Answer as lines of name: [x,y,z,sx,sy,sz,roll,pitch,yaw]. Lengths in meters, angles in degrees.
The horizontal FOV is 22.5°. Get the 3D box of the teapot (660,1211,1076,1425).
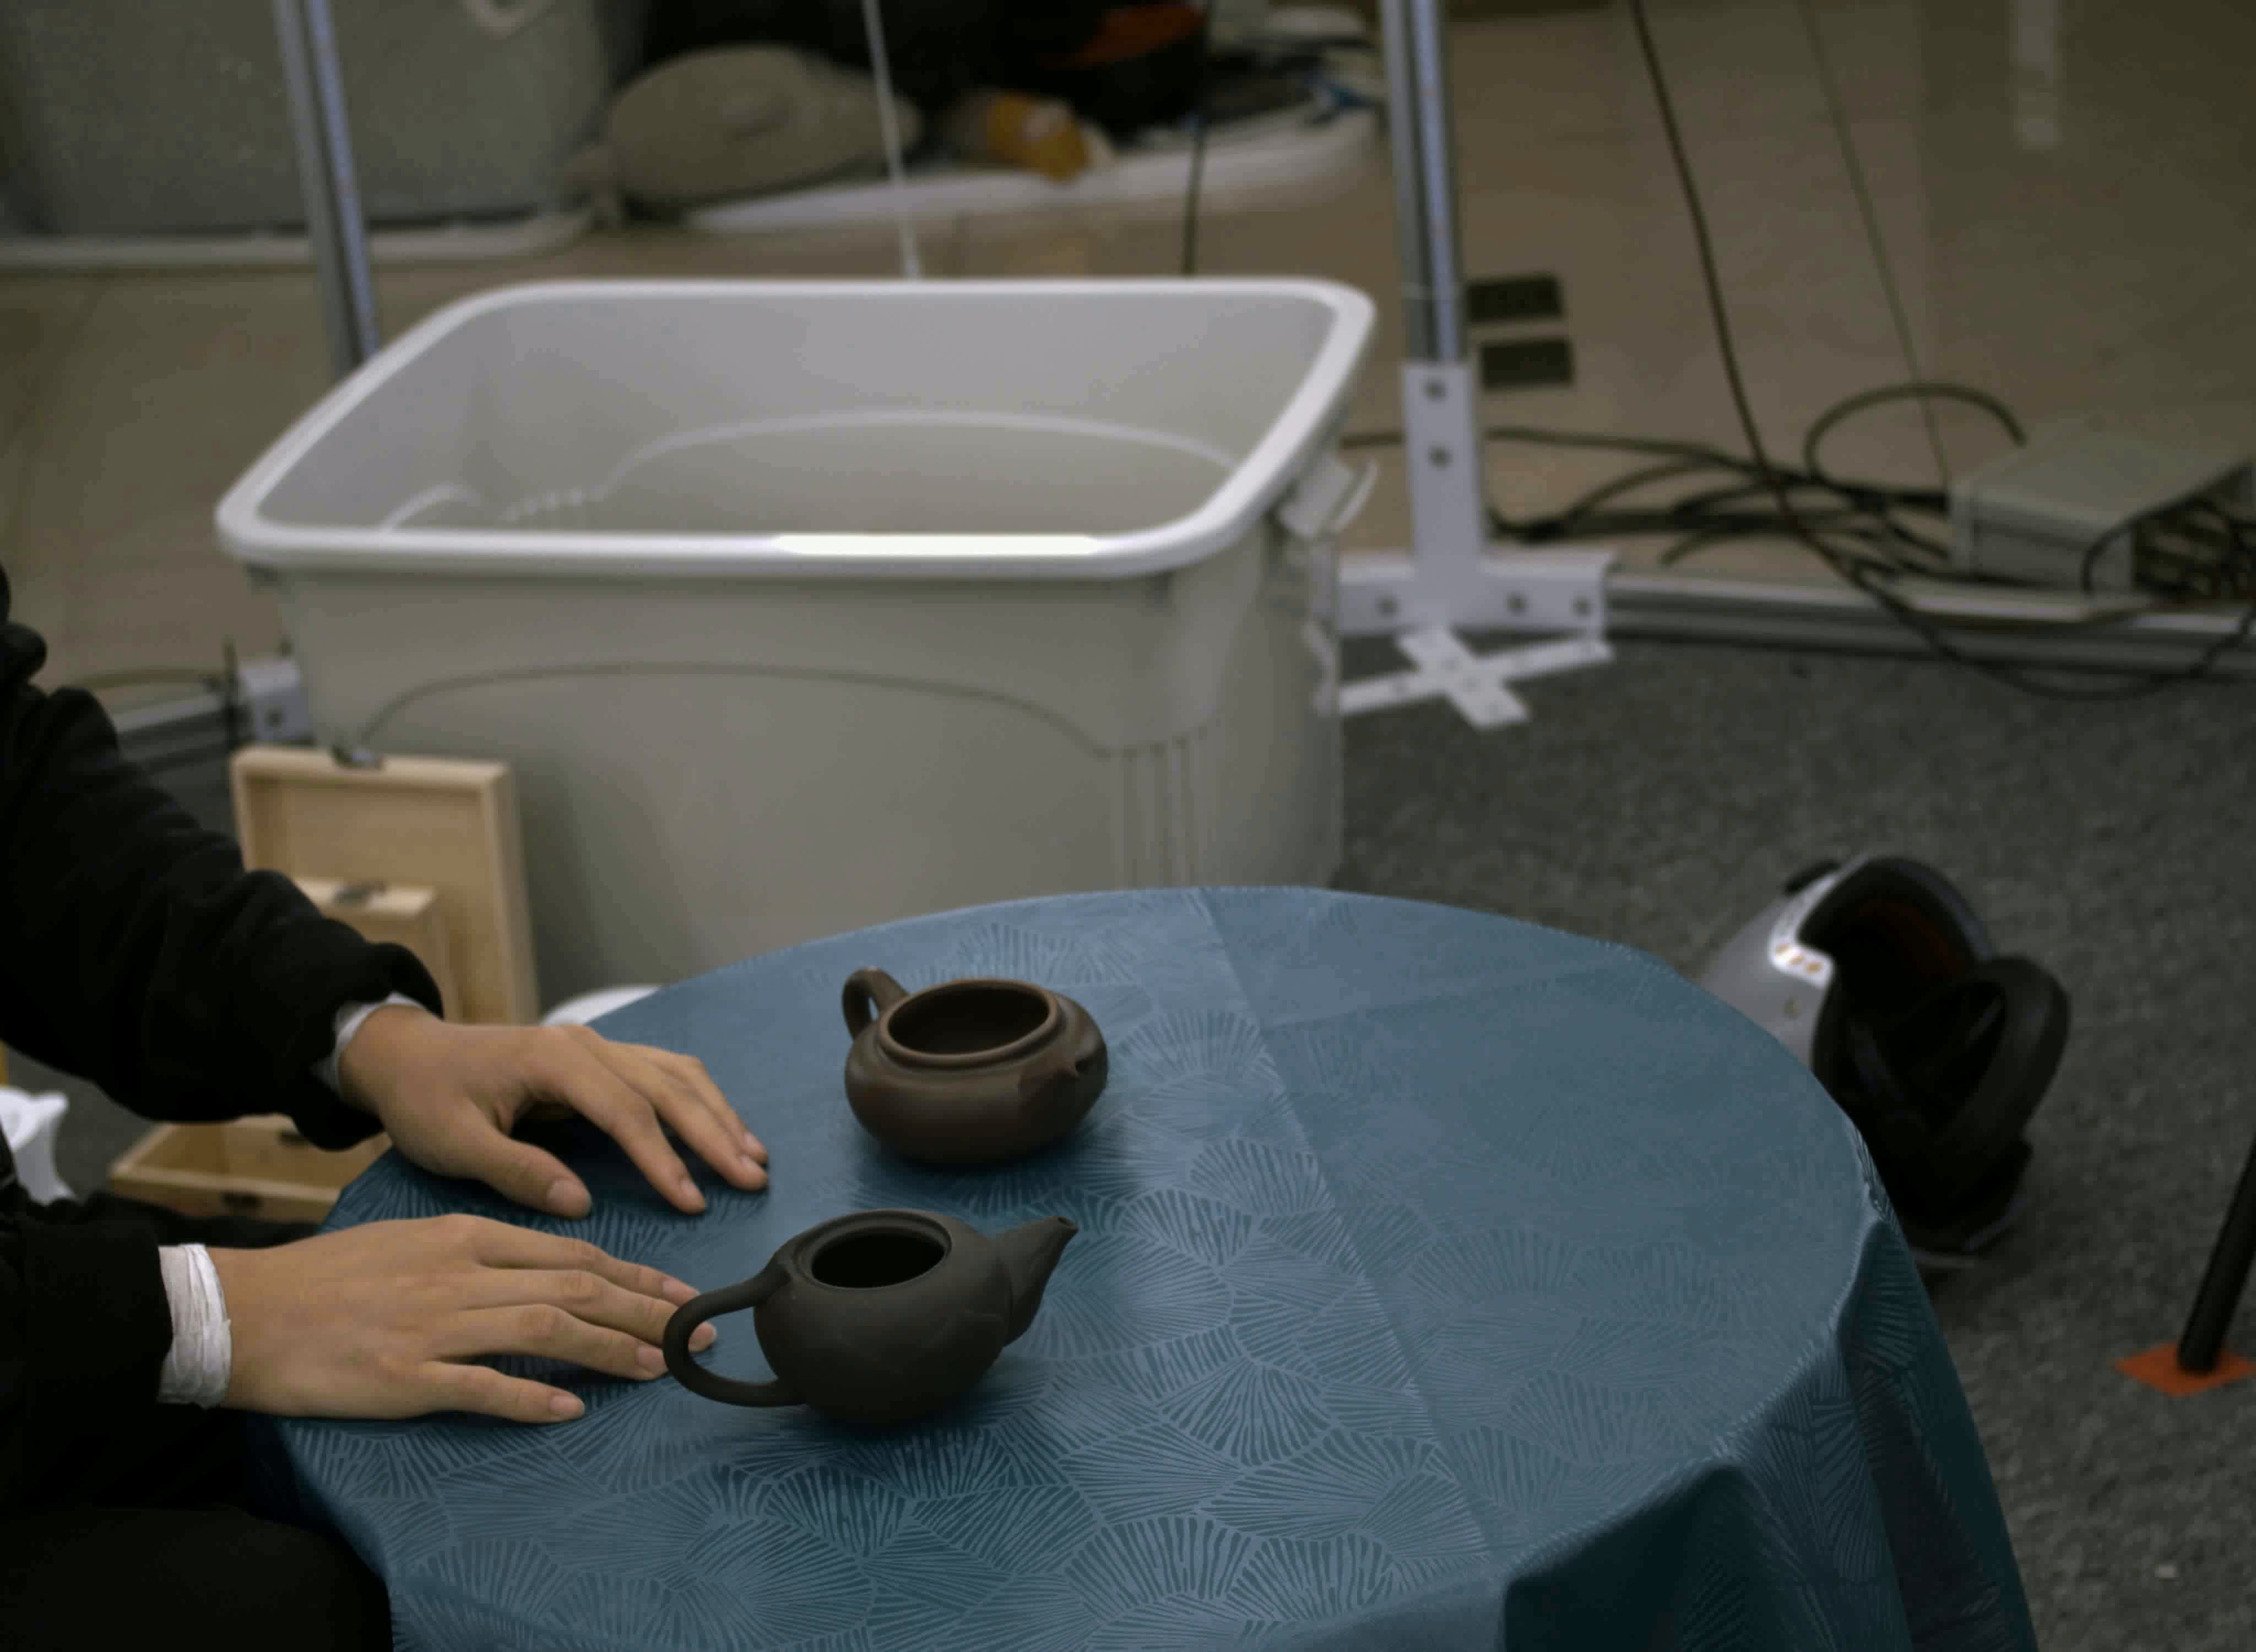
teapot: [-0.091,0.174,2.020,0.154,0.065,0.091,-11,24,-11]

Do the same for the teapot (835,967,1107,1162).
teapot: [-0.062,0.092,2.202,0.102,0.054,0.152,-25,31,-38]
